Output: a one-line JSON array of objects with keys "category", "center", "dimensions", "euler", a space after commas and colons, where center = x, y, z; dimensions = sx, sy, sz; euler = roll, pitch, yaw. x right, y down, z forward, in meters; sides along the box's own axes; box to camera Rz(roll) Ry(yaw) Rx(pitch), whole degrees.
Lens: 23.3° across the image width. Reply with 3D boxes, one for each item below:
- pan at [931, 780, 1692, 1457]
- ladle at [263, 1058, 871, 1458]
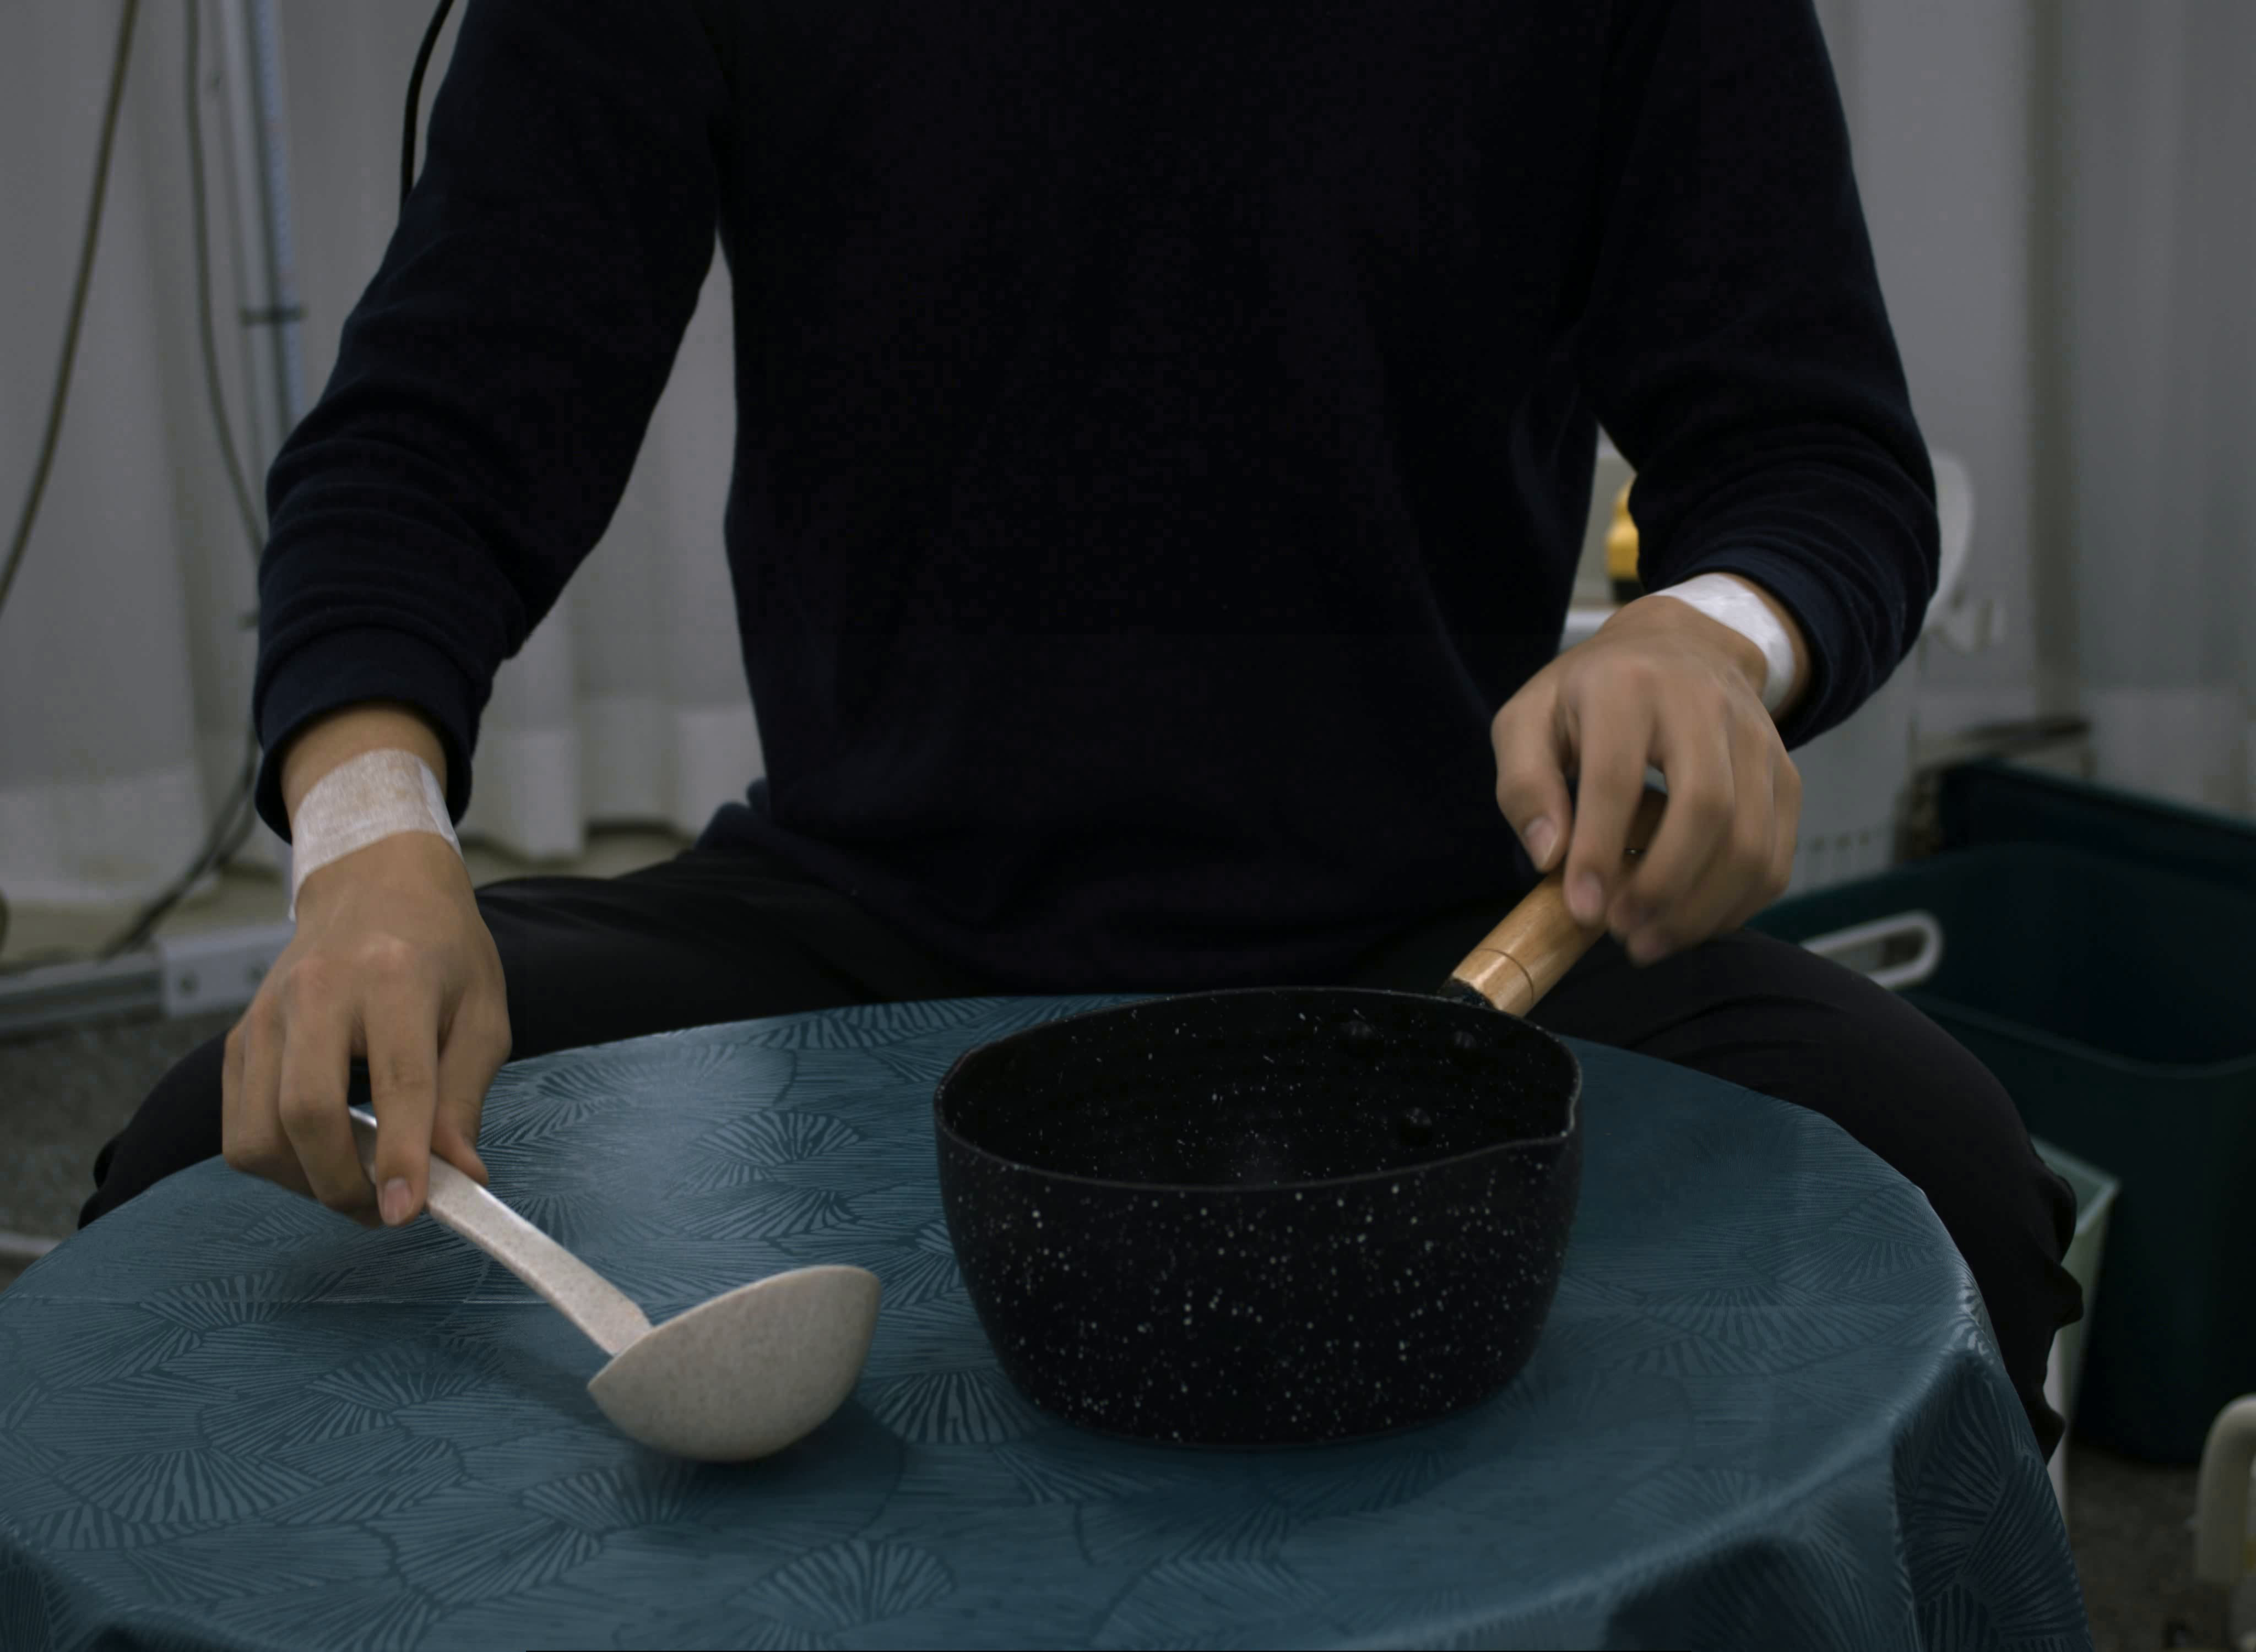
[{"category": "pan", "center": [0.079, 0.081, 1.617], "dimensions": [0.208, 0.108, 0.343], "euler": [5, 18, 32]}, {"category": "ladle", "center": [-0.176, 0.099, 1.577], "dimensions": [0.089, 0.069, 0.278], "euler": [-13, 31, -35]}]
